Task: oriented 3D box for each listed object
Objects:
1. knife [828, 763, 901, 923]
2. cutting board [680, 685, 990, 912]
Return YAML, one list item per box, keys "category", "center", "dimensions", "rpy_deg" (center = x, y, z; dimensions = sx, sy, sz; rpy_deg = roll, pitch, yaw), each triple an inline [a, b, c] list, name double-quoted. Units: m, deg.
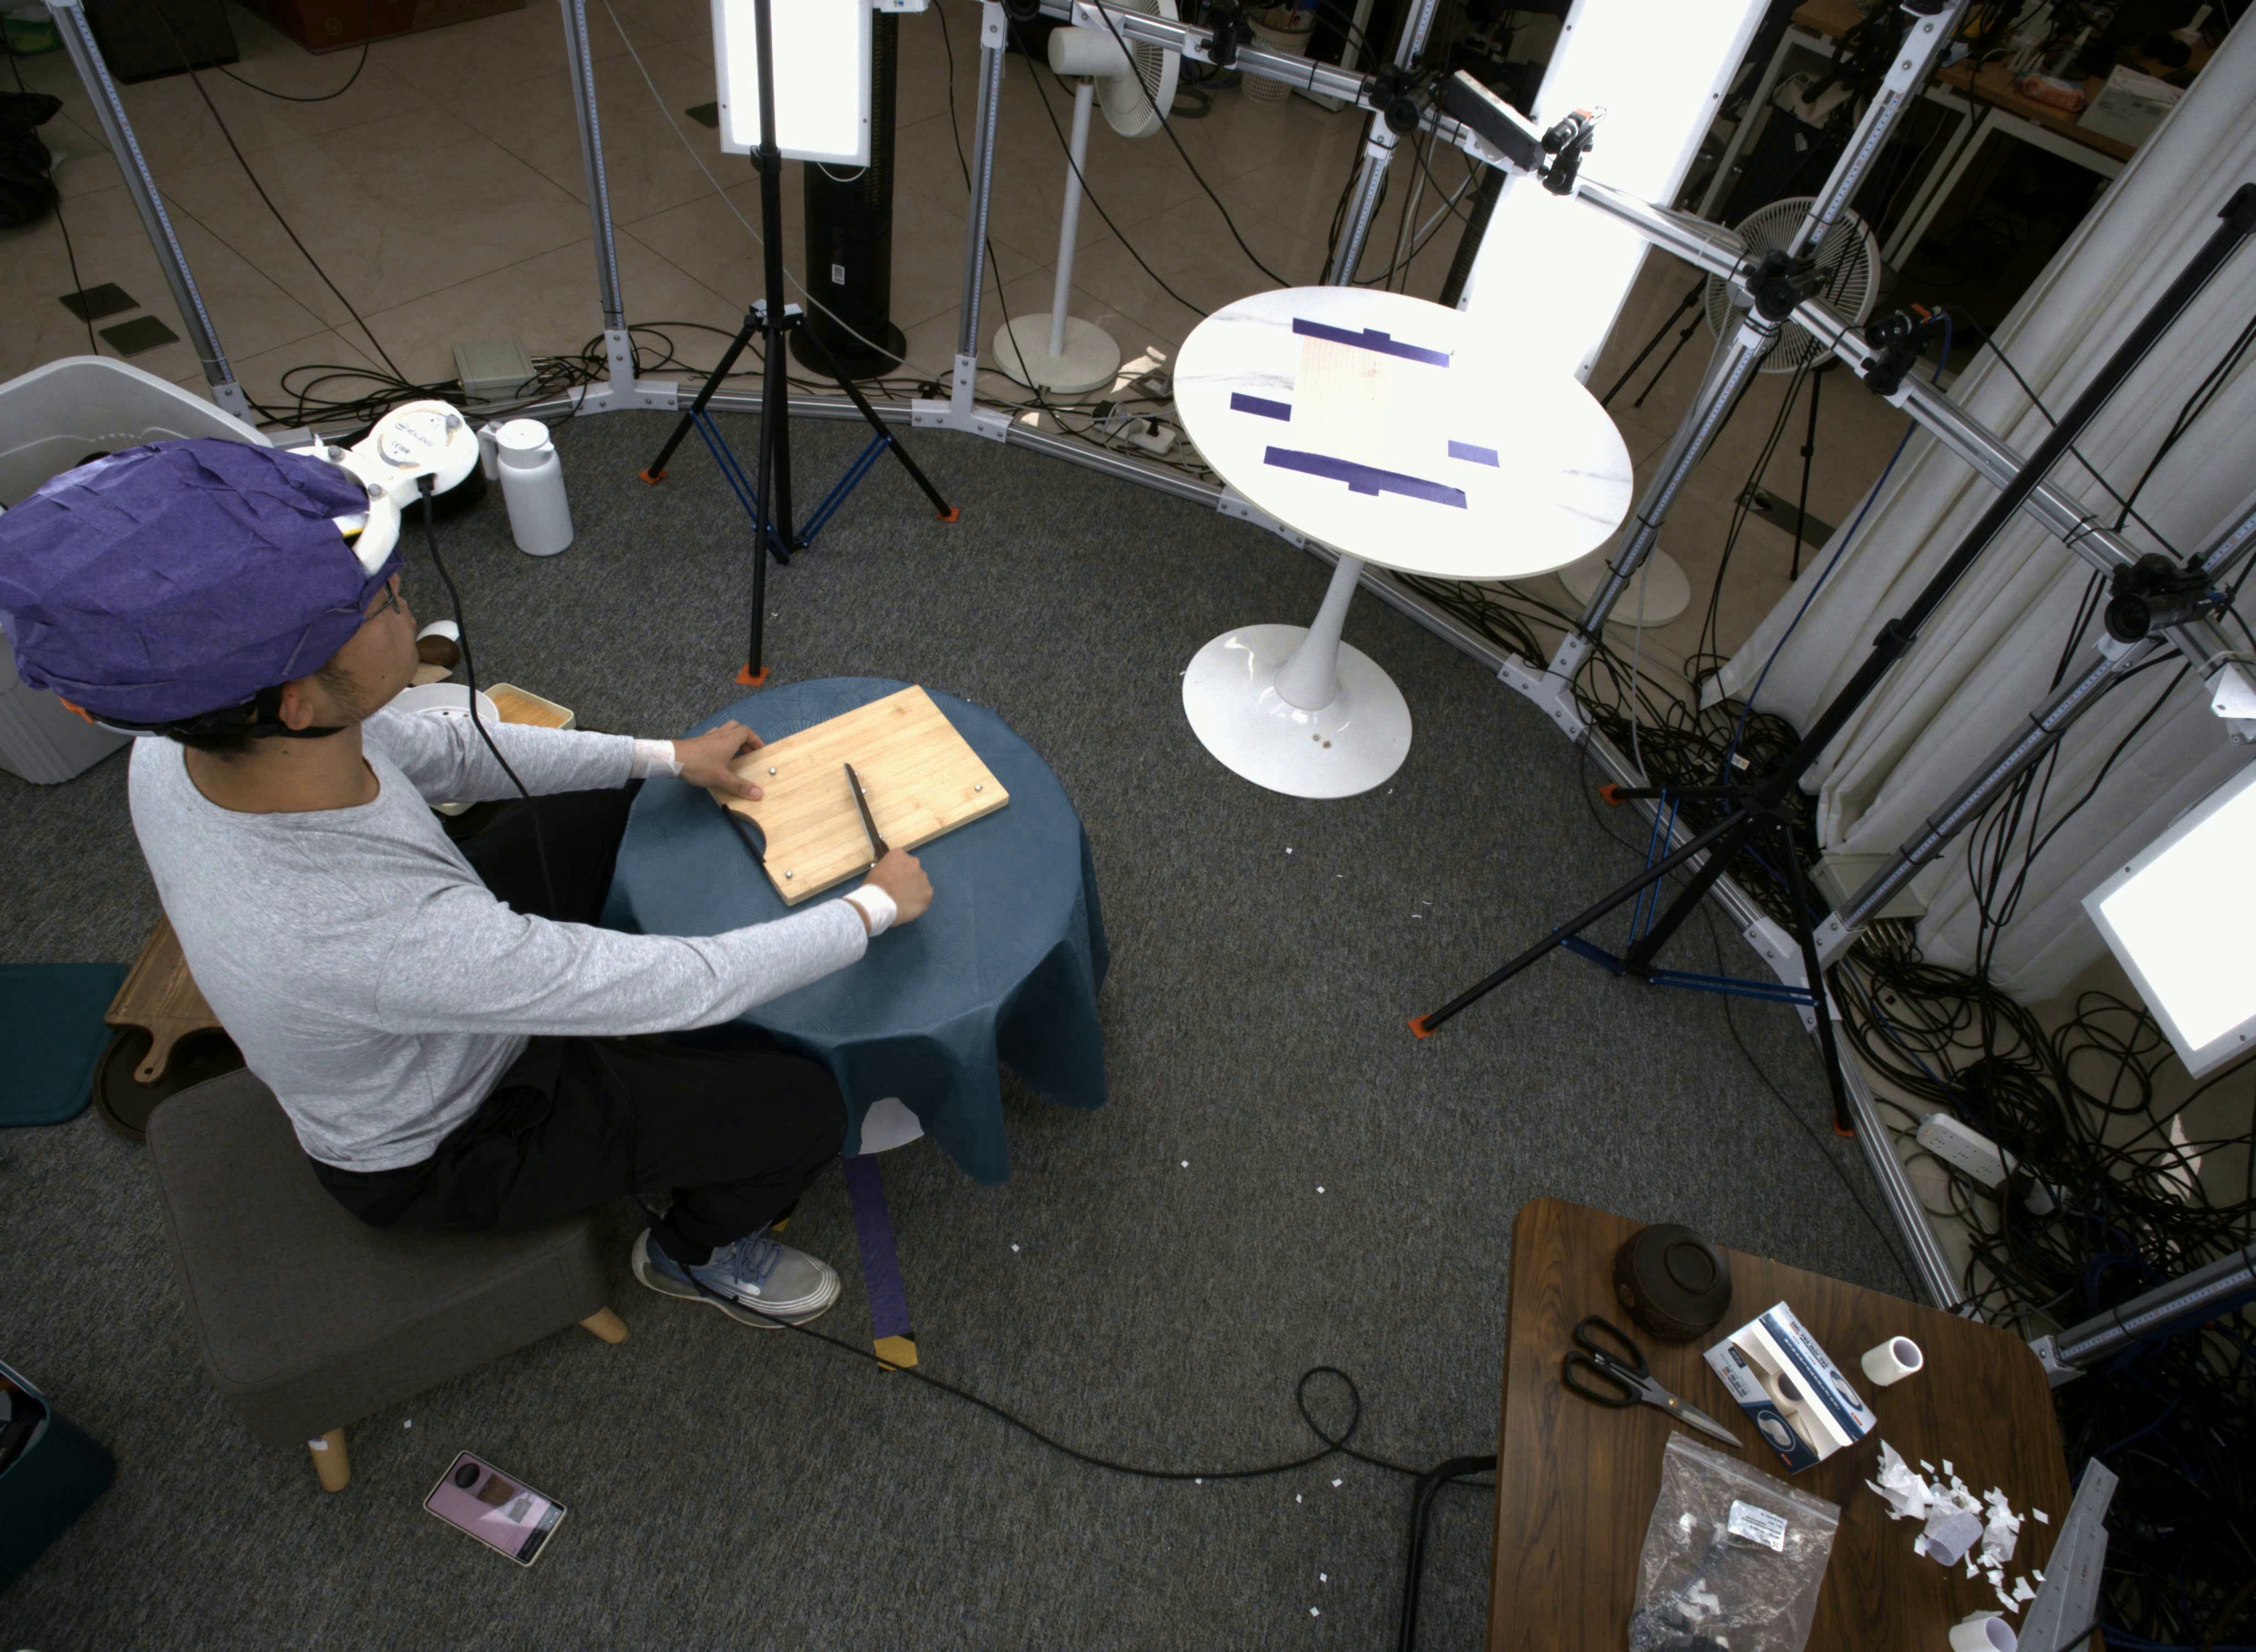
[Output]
- category: "knife"
  center: [-0.349, 0.016, 1.686]
  dimensions: [0.020, 0.051, 0.281]
  rpy_deg: [-8, 51, -31]
- category: "cutting board"
  center: [-0.394, -0.047, 1.768]
  dimensions: [0.350, 0.024, 0.244]
  rpy_deg: [-29, 65, -30]
